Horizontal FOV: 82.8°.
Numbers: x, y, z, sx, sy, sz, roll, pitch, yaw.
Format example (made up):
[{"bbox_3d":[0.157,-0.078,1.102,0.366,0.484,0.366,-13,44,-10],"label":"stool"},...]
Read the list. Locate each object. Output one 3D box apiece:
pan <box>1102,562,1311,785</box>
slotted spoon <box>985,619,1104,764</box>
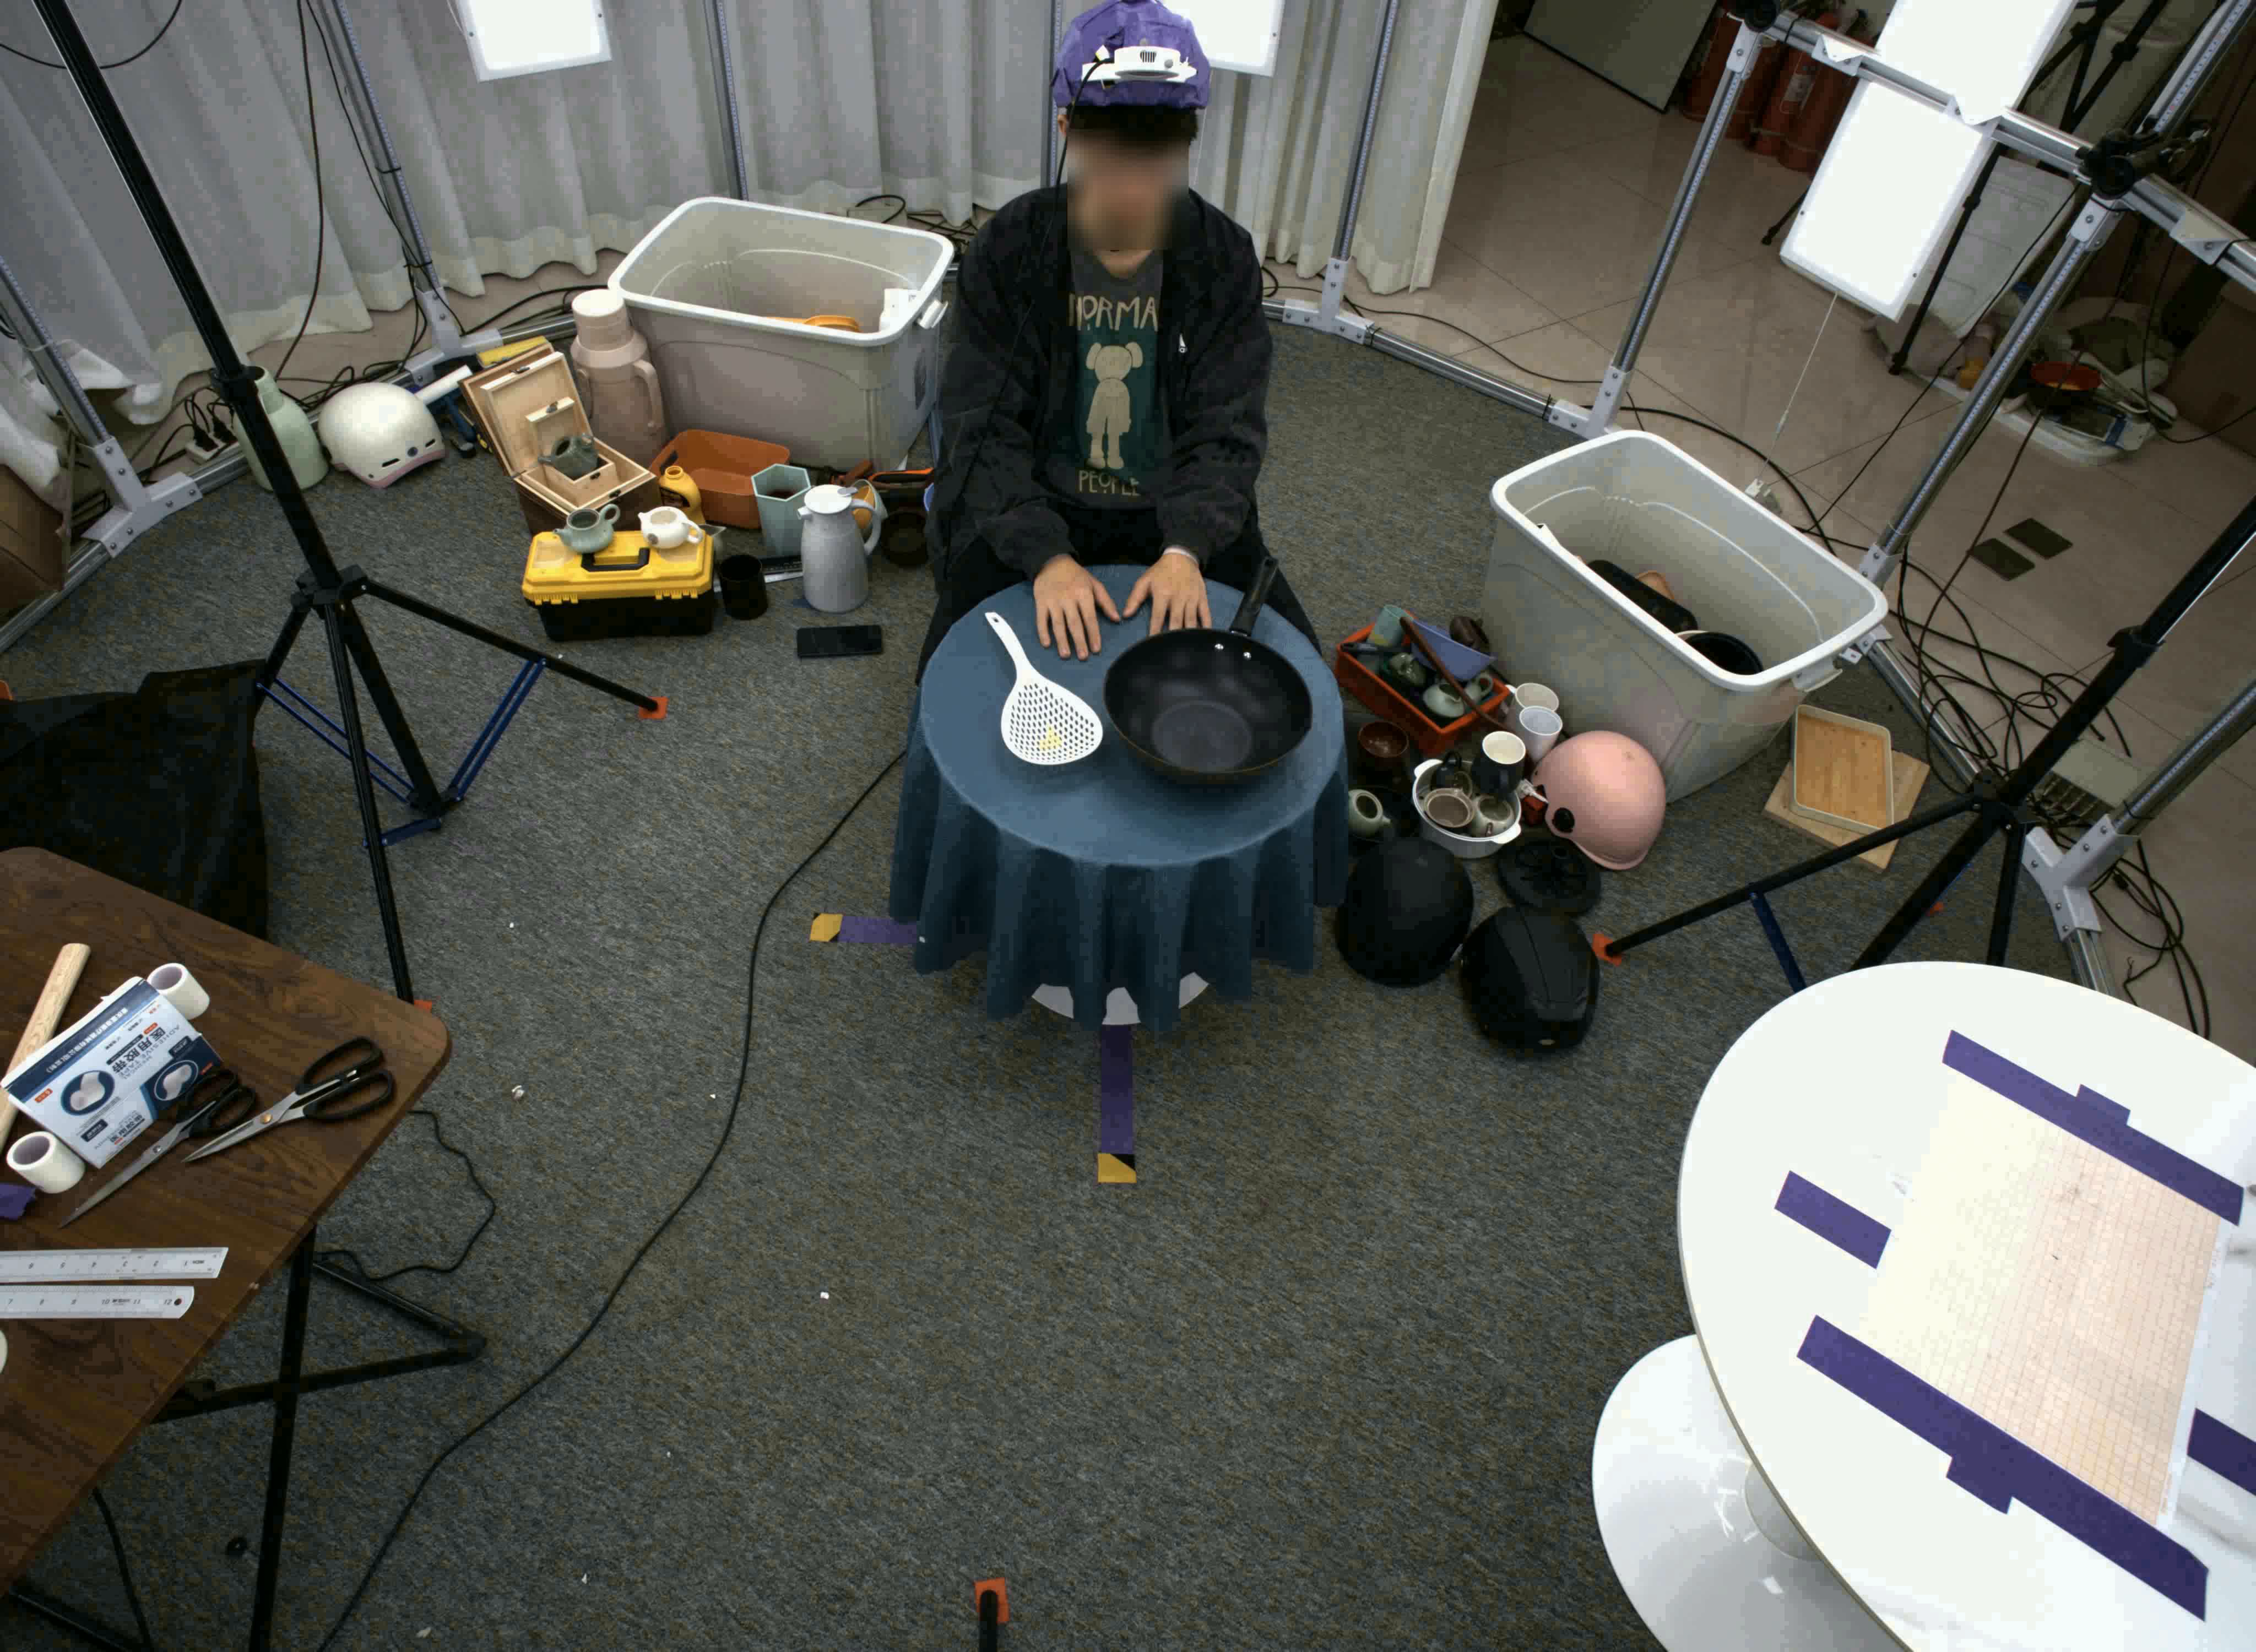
[{"bbox_3d":[0.134,-0.214,1.808,0.289,0.085,0.473,17,48,11],"label":"pan"},{"bbox_3d":[-0.140,-0.200,1.806,0.137,0.049,0.356,-14,51,-13],"label":"slotted spoon"}]
